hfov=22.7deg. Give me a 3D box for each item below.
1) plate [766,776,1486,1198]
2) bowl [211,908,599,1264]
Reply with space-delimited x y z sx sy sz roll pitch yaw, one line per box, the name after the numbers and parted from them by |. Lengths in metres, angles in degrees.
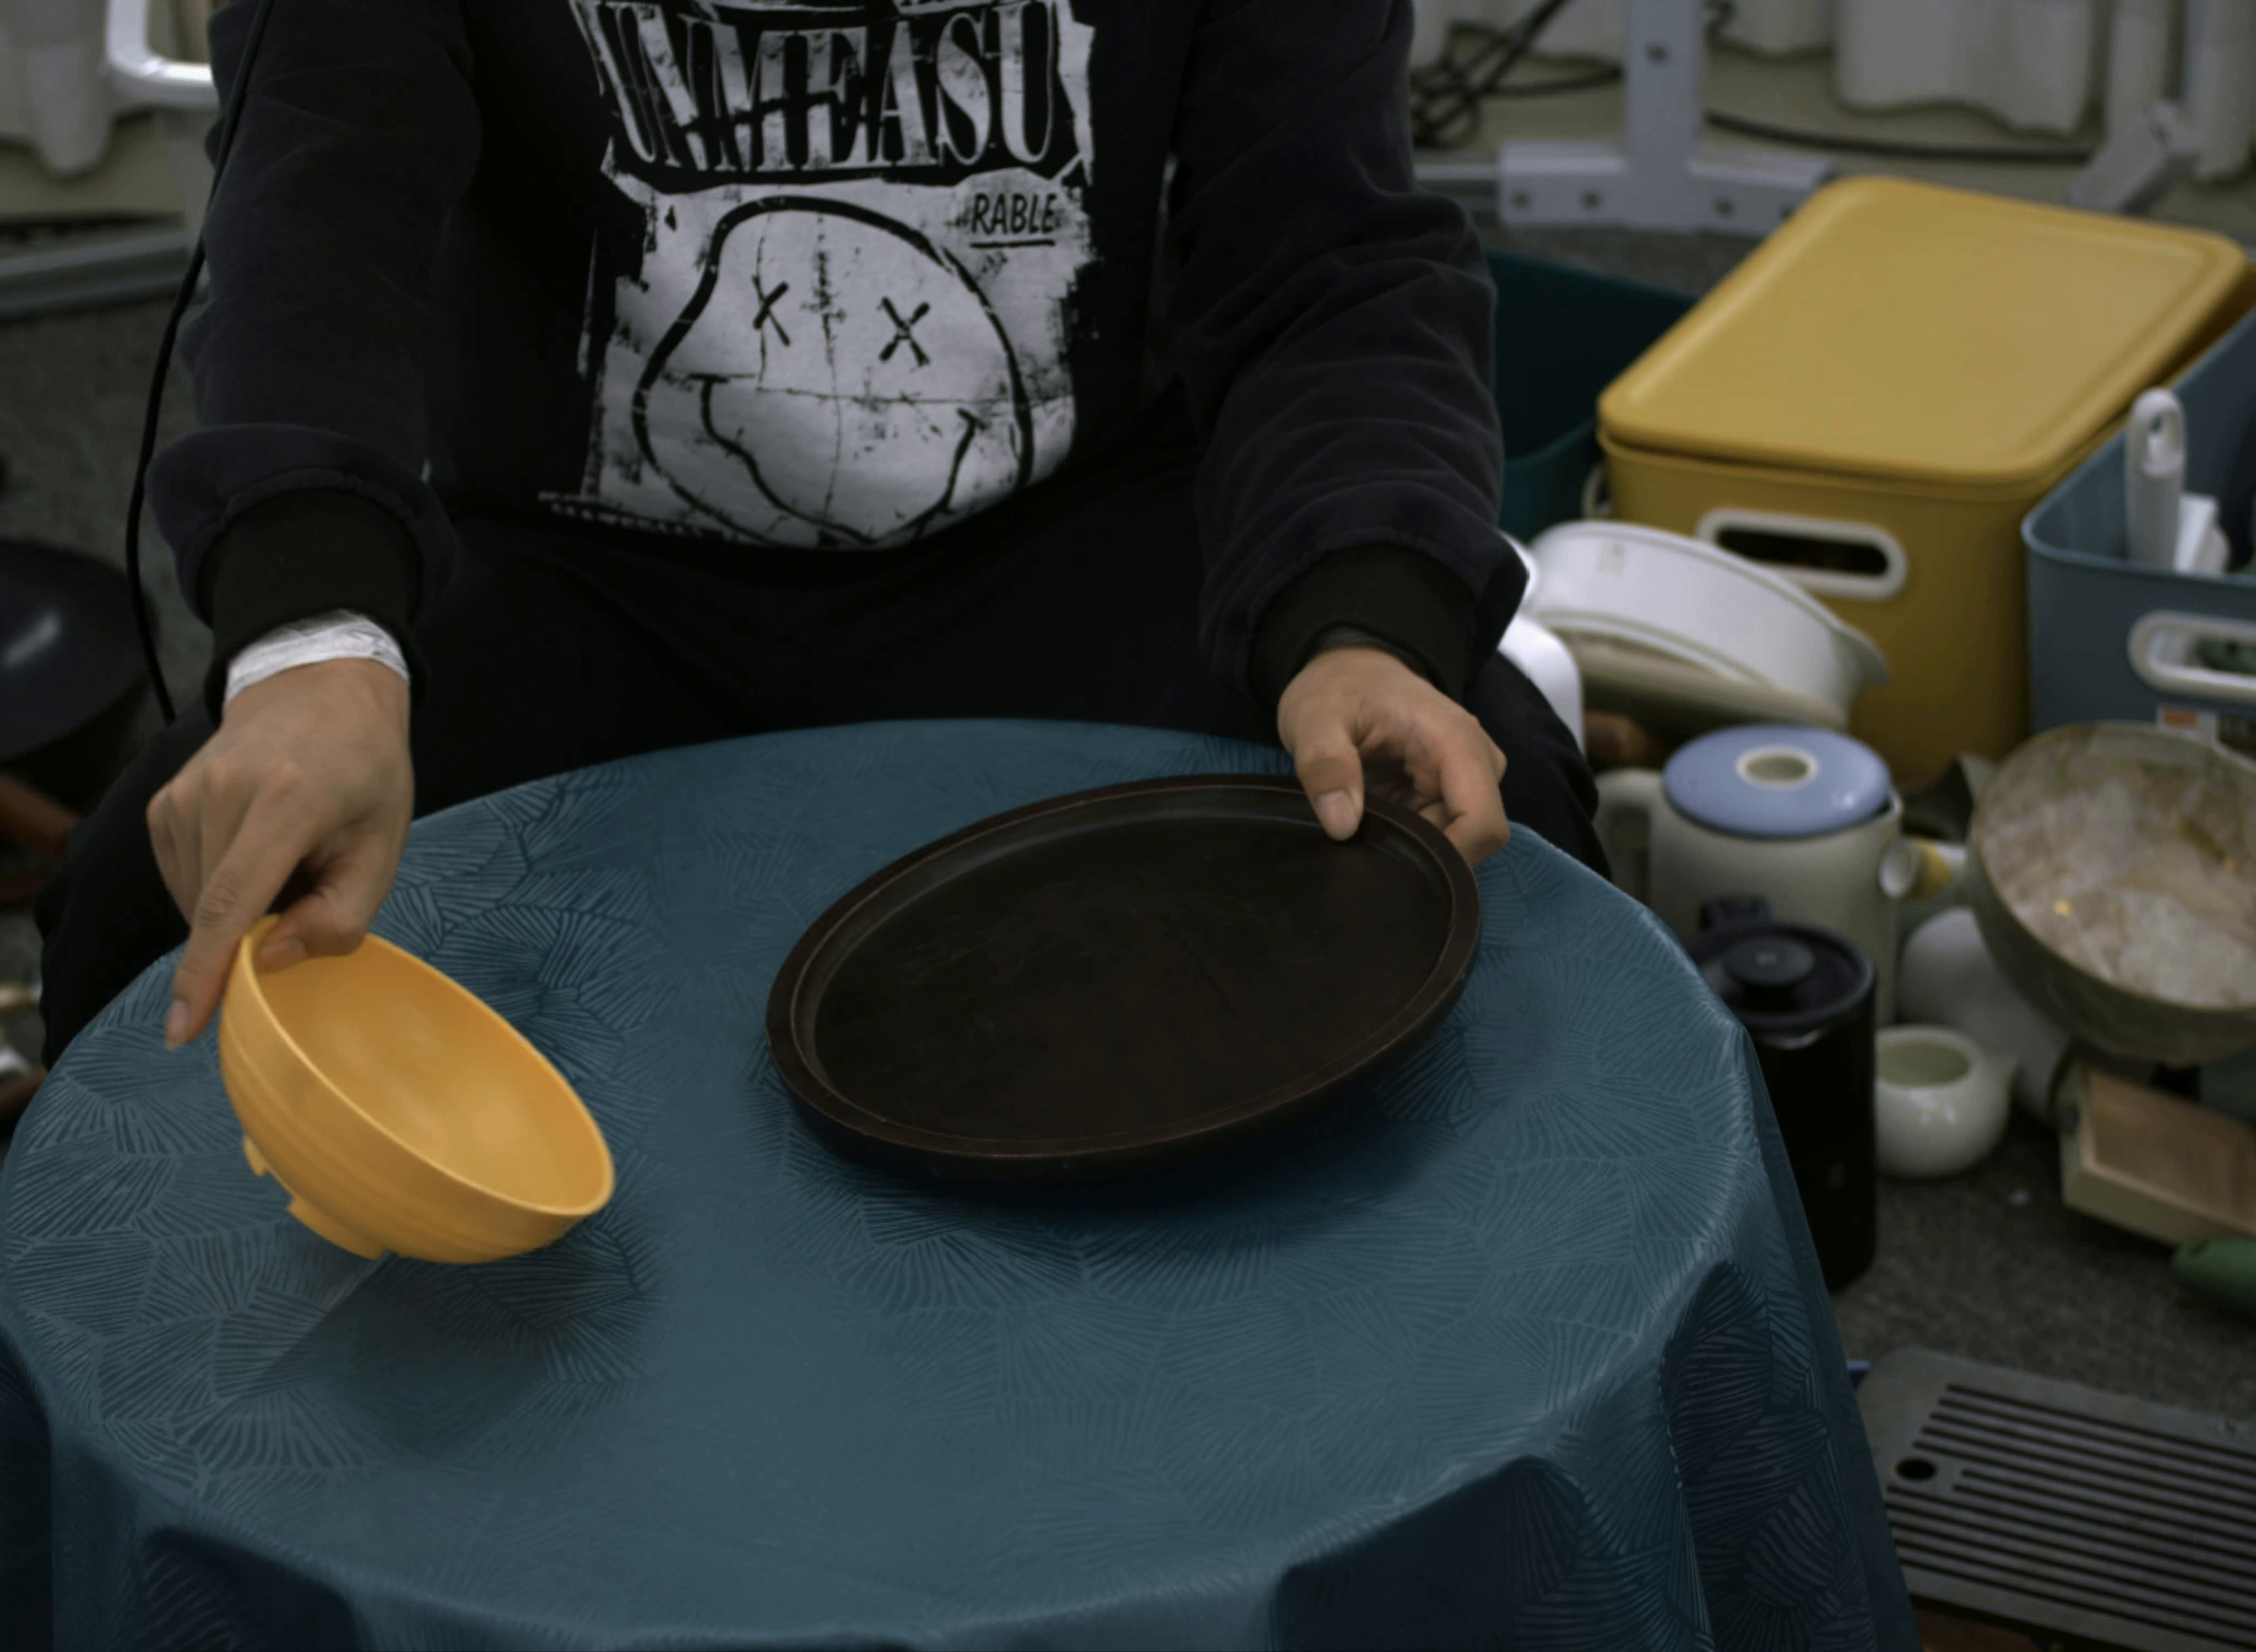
0.000 0.054 1.938 0.253 0.029 0.258 -10 27 5 | plate
-0.244 0.097 1.805 0.145 0.060 0.146 38 12 -9 | bowl
